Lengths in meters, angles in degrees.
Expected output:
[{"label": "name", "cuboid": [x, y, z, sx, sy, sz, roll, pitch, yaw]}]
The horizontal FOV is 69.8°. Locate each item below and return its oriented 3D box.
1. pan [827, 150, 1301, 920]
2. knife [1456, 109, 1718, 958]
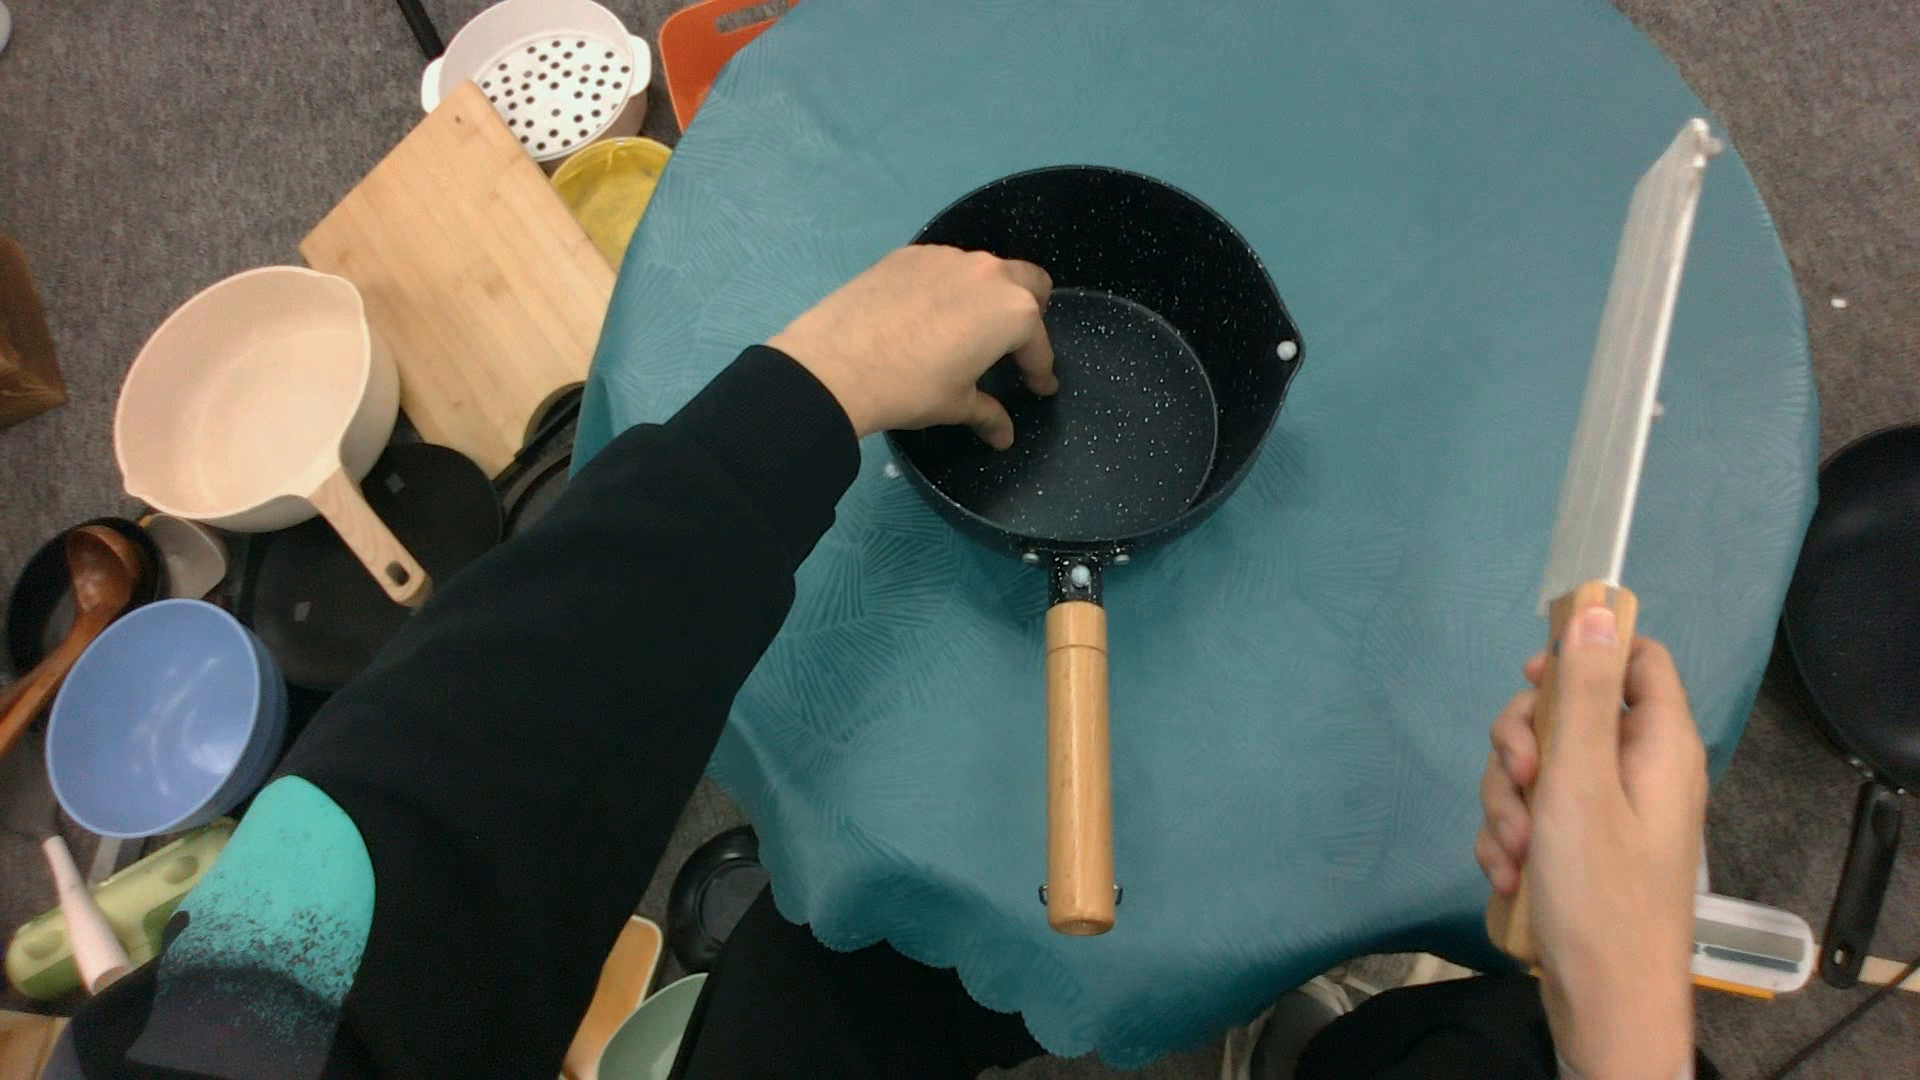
[{"label": "pan", "cuboid": [0.047, -0.007, 0.605, 0.207, 0.108, 0.344, -1, 70, 0]}, {"label": "knife", "cuboid": [0.225, -0.008, 0.500, 0.022, 0.114, 0.316, 14, 81, 2]}]
